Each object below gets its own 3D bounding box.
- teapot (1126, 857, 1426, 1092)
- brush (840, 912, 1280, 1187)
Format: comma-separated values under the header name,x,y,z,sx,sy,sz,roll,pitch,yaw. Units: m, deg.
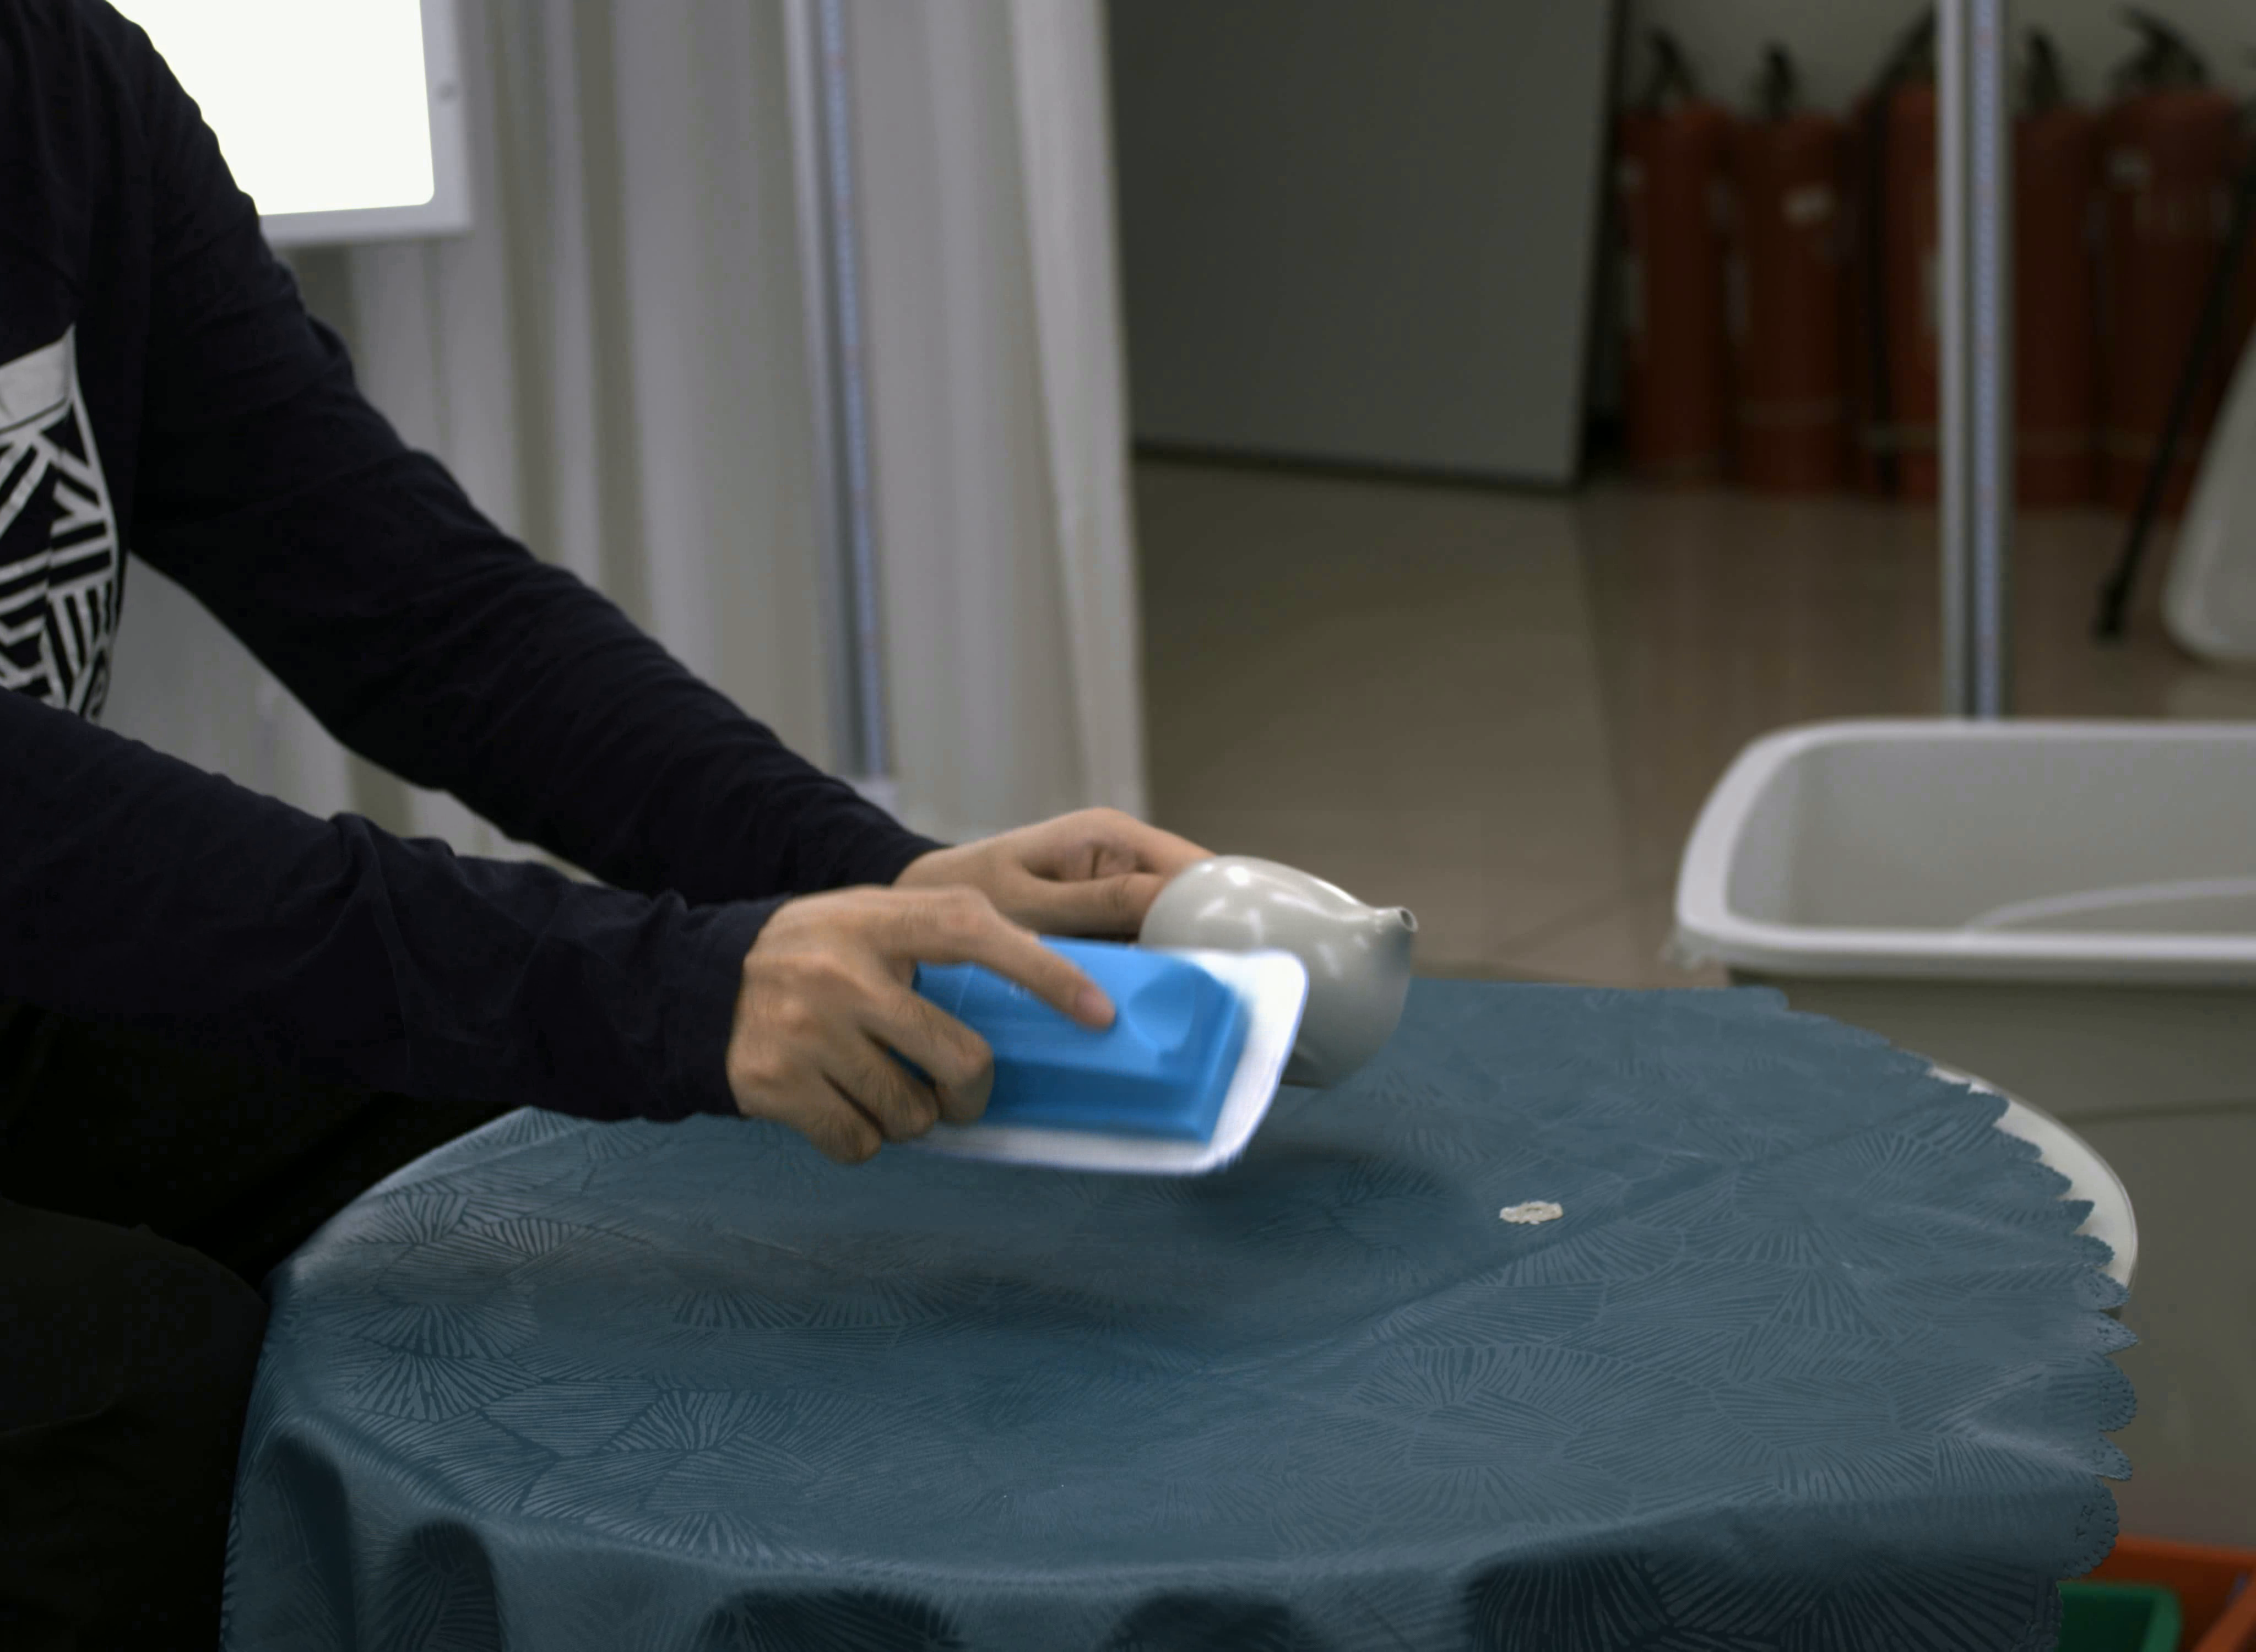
name,x,y,z,sx,sy,sz,roll,pitch,yaw
teapot,0.044,0.049,1.791,0.129,0.060,0.090,9,-18,47
brush,-0.027,0.065,1.672,0.145,0.055,0.084,6,59,36
